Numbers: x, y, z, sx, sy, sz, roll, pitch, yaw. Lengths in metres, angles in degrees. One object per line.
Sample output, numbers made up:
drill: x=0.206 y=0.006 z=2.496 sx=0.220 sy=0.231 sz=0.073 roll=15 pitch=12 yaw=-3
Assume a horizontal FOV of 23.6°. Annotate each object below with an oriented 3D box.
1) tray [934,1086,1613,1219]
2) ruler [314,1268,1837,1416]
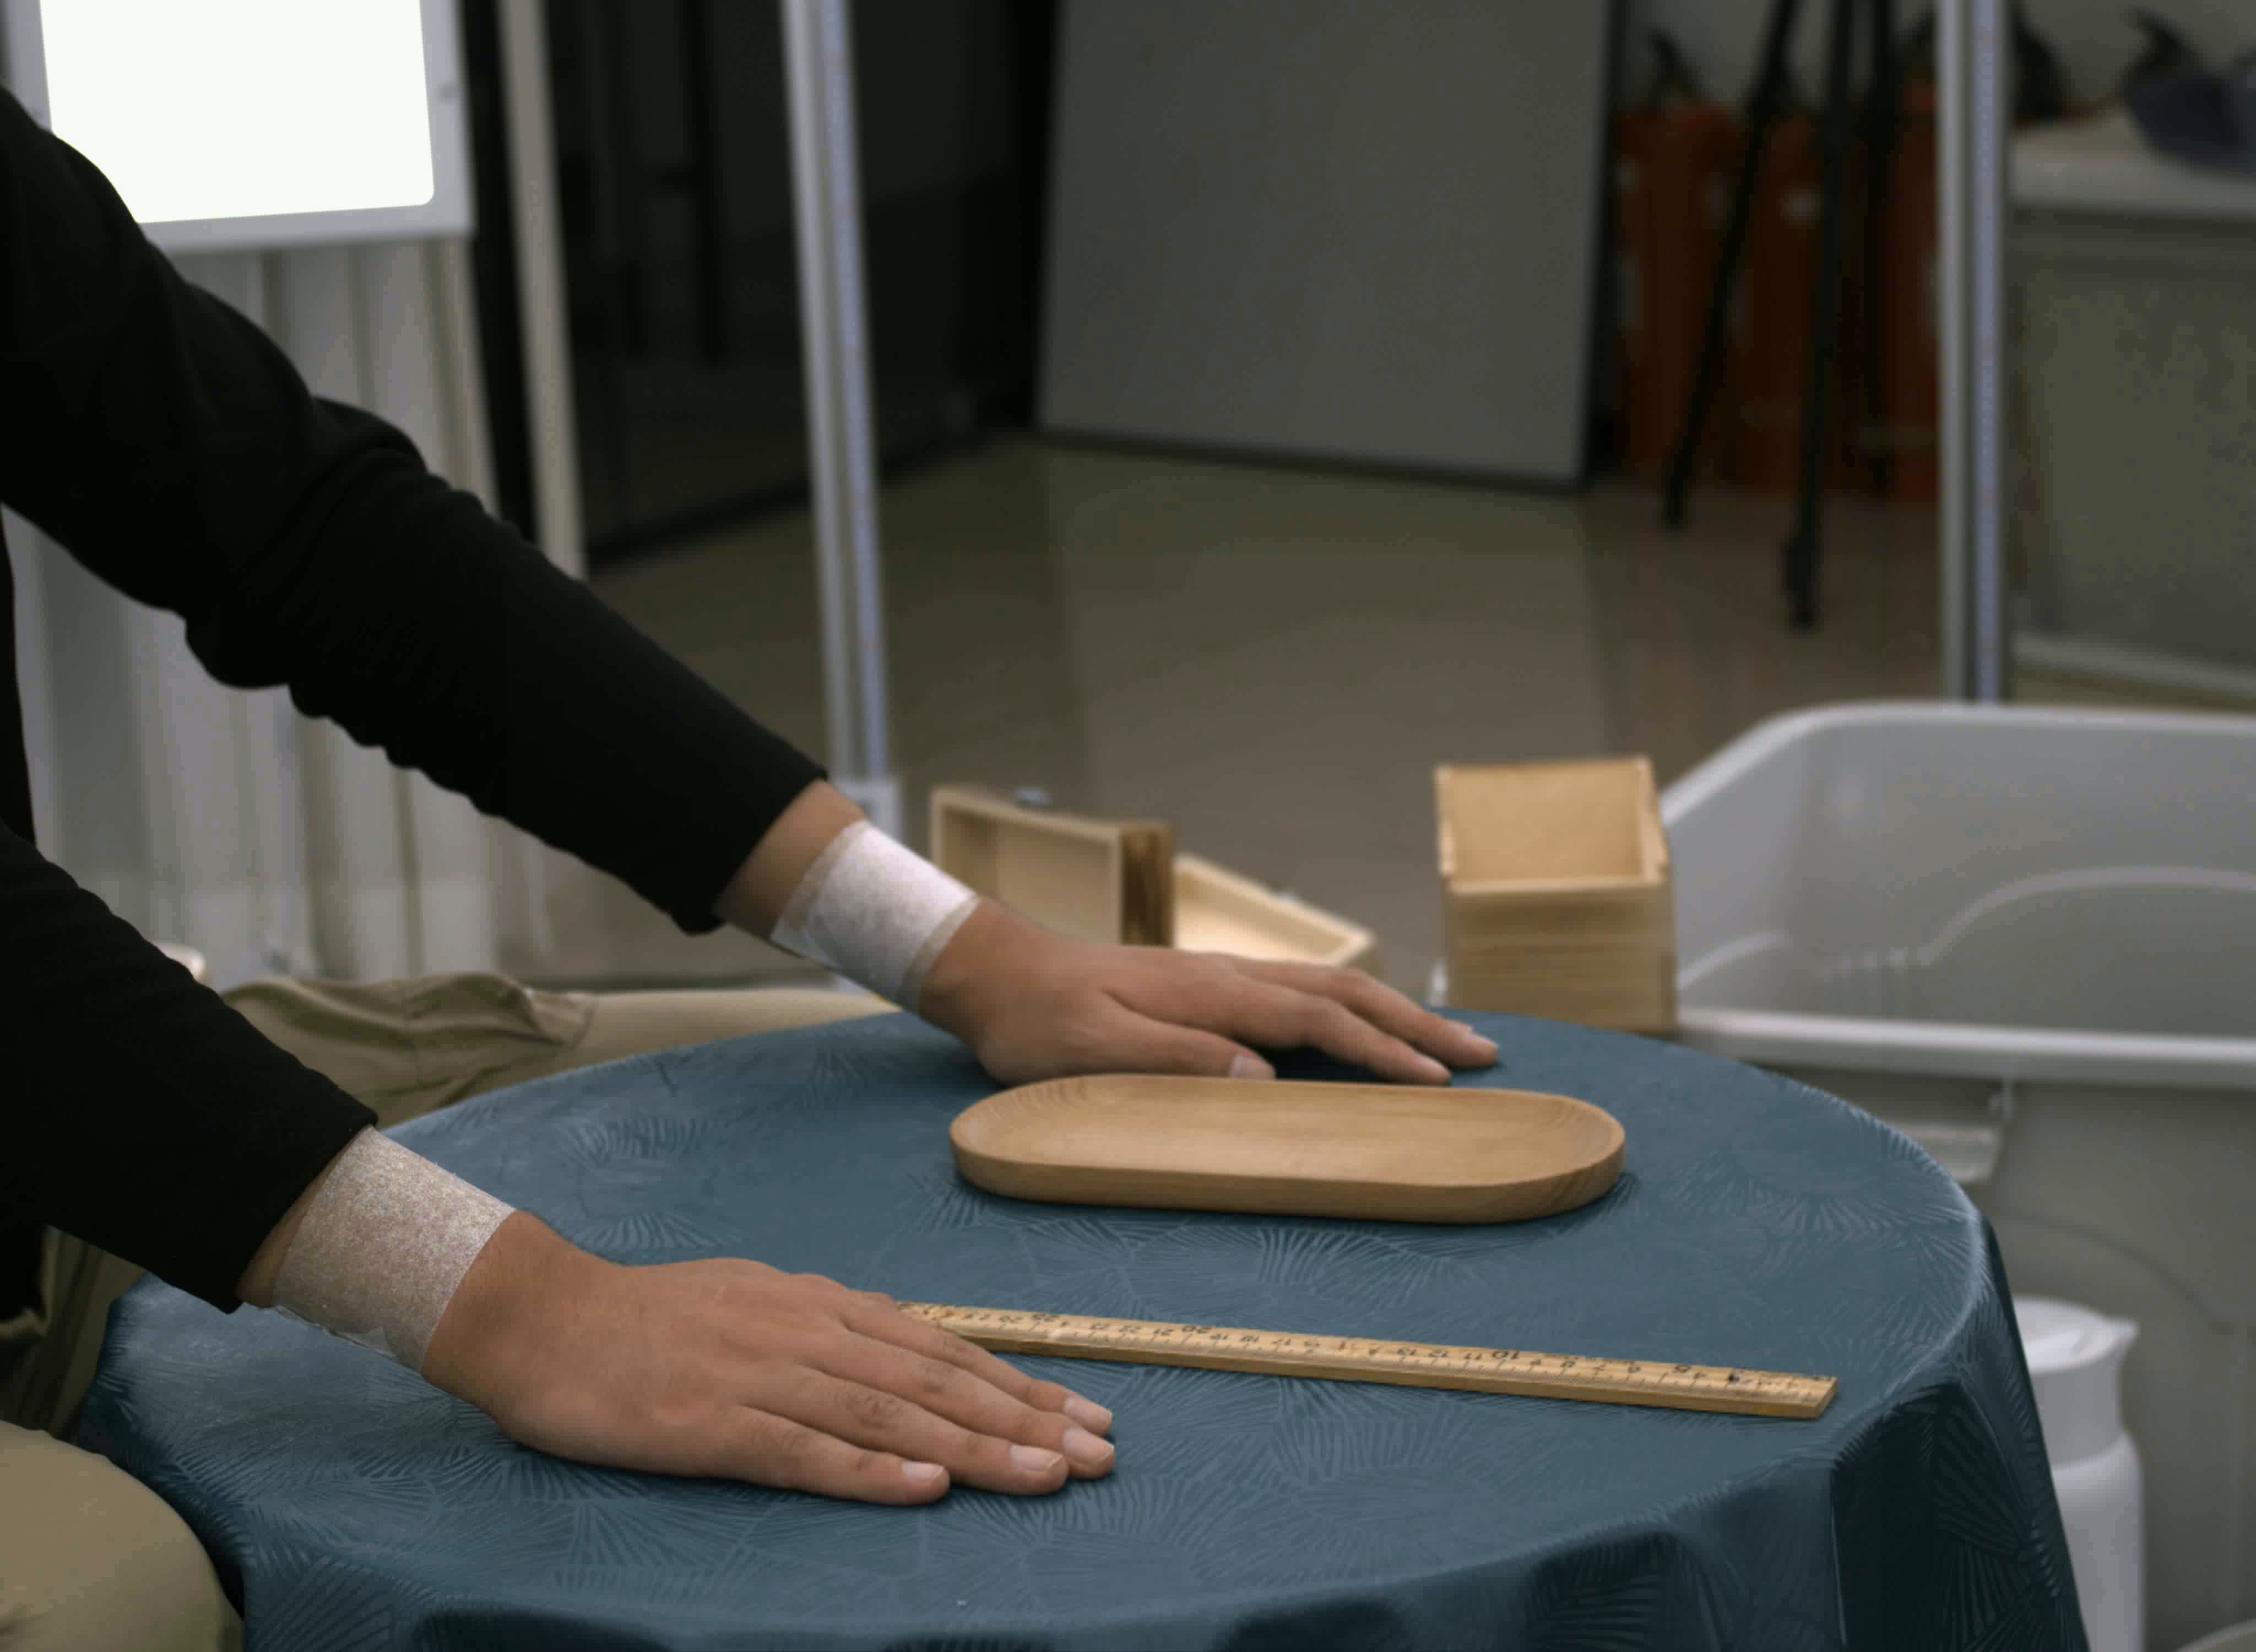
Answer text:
tray: x=0.047 y=0.108 z=1.776 sx=0.230 sy=0.020 sz=0.101 roll=-1 pitch=12 yaw=19
ruler: x=-0.027 y=0.154 z=1.633 sx=0.501 sy=0.006 sz=0.026 roll=2 pitch=13 yaw=25
